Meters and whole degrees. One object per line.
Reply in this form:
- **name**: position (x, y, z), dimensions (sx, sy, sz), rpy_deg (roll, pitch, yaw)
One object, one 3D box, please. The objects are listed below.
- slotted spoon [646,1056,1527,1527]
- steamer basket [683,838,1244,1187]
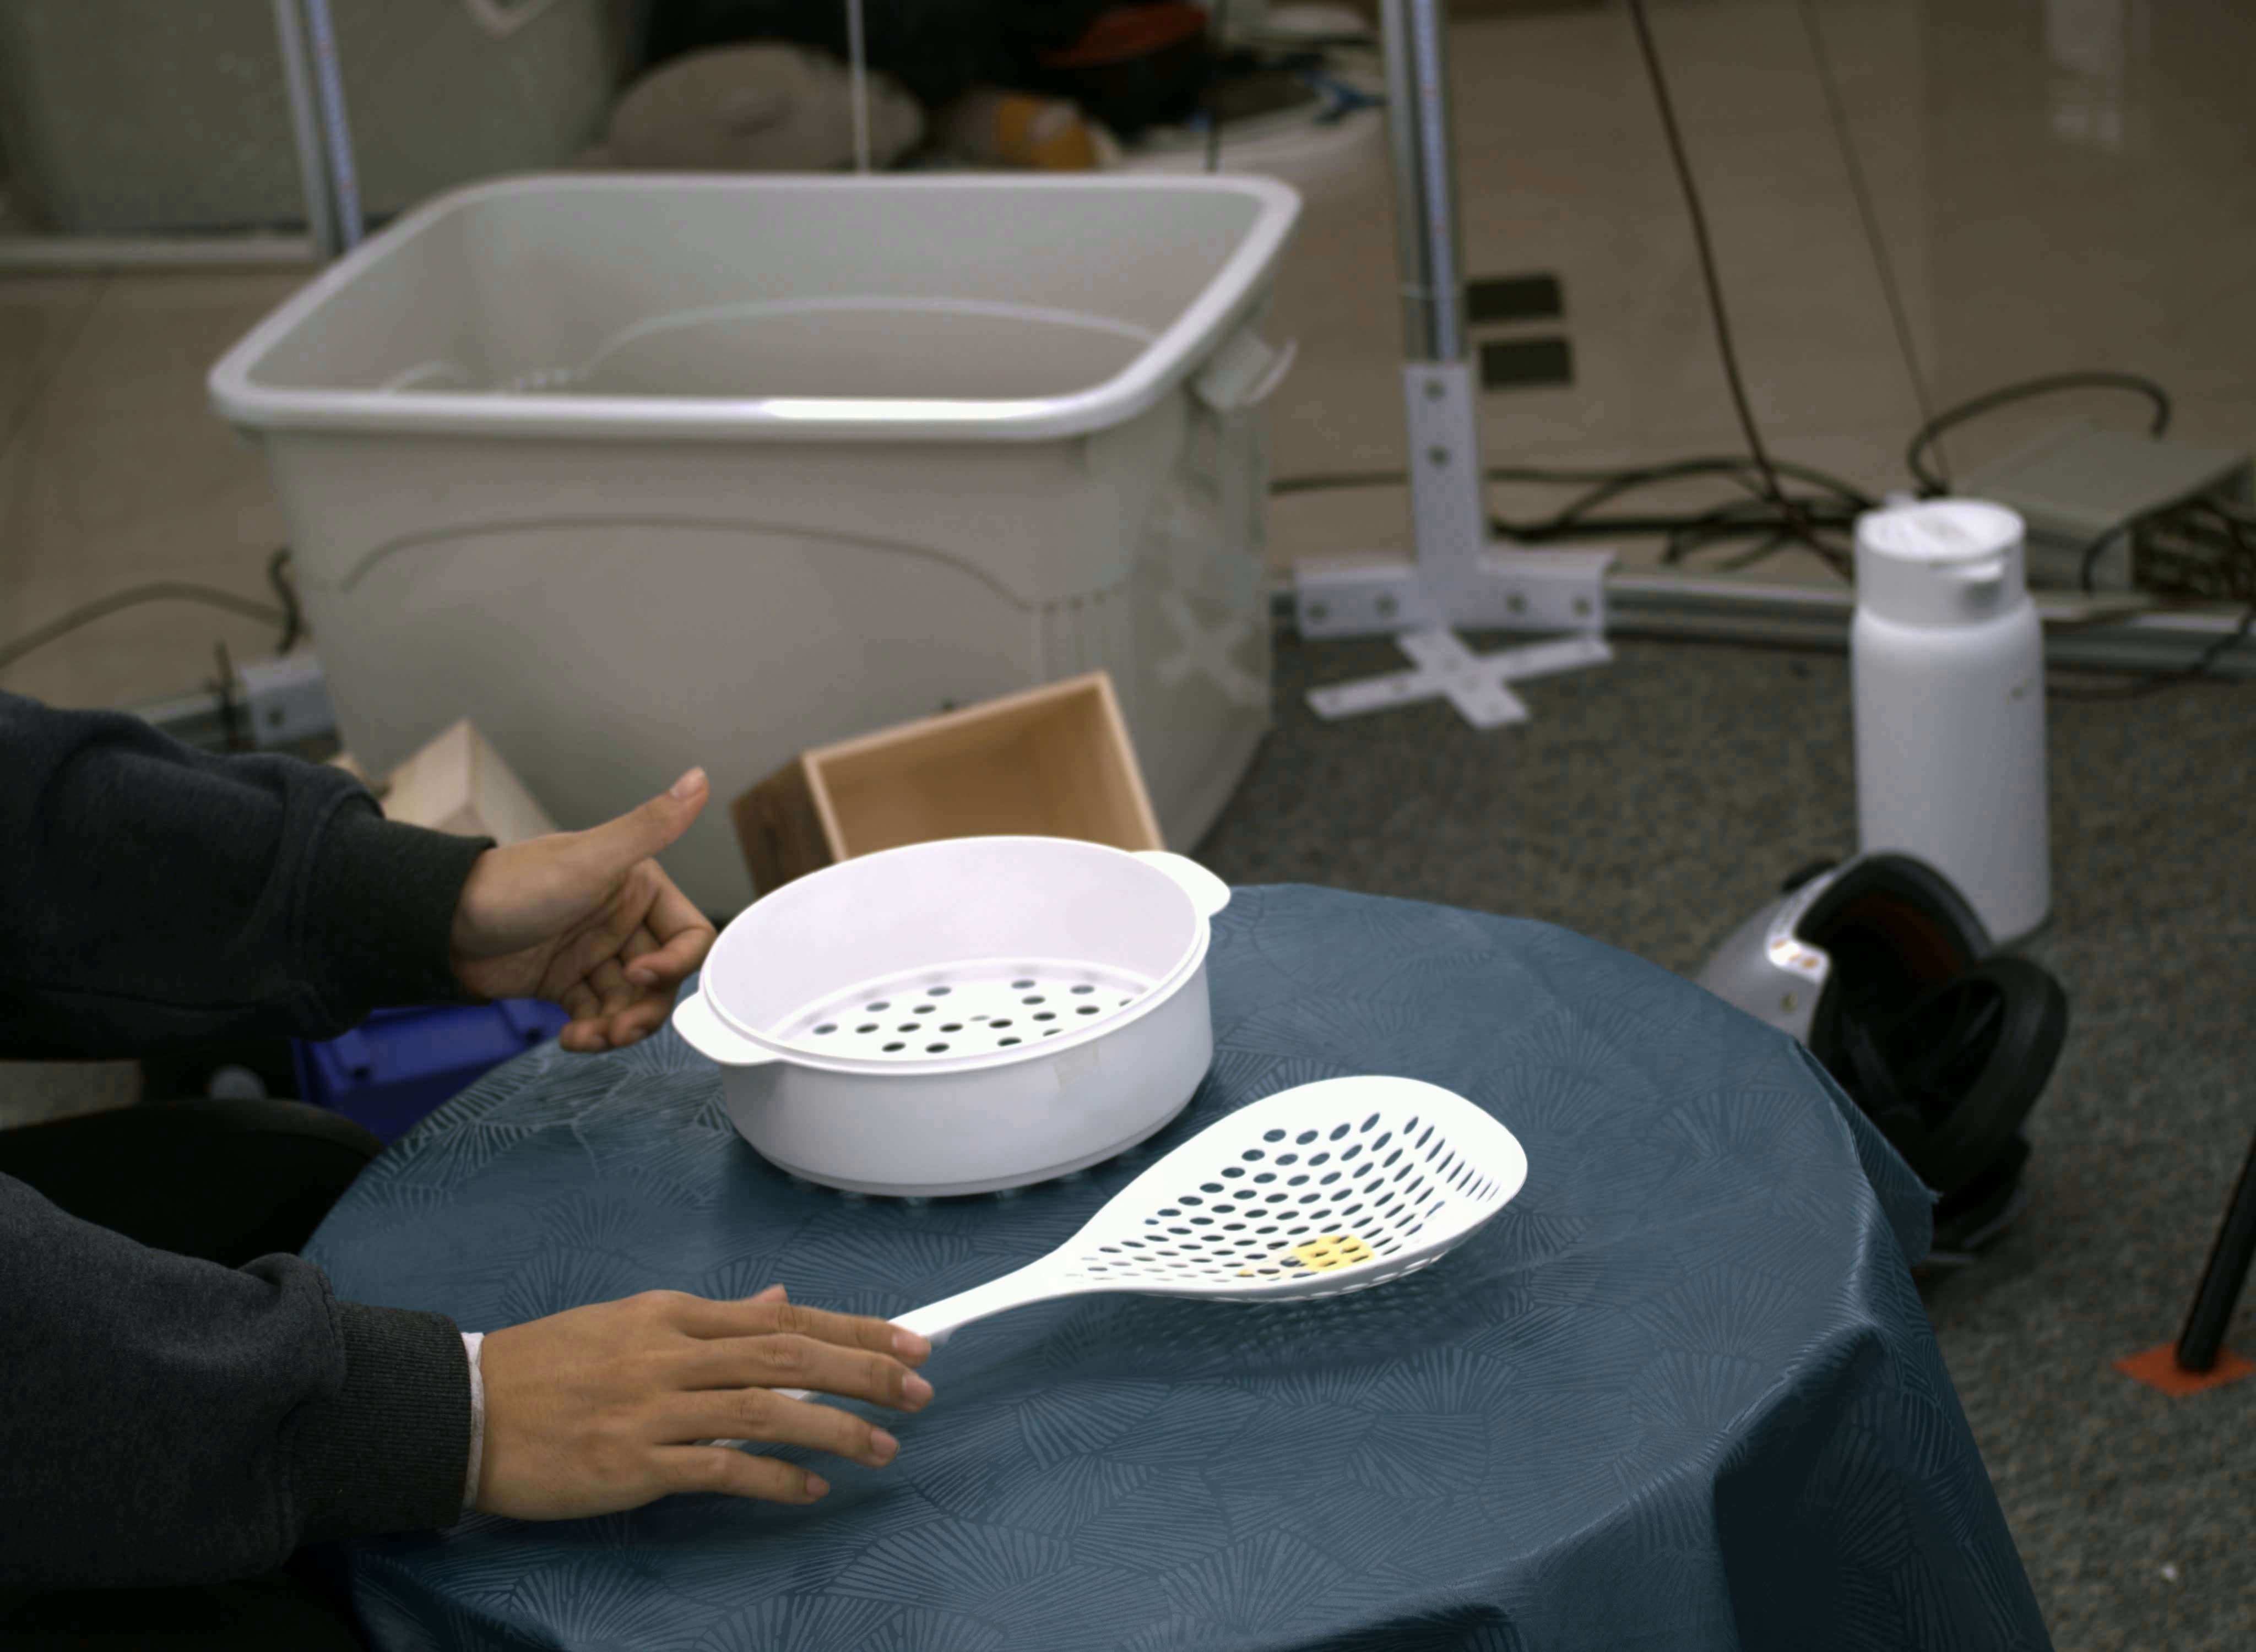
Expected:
- **slotted spoon**: position (-0.018, 0.170, 2.036), dimensions (0.346, 0.051, 0.135), rpy_deg (-17, 30, -21)
- **steamer basket**: position (-0.060, 0.074, 2.220), dimensions (0.229, 0.070, 0.199), rpy_deg (-16, 26, -24)
